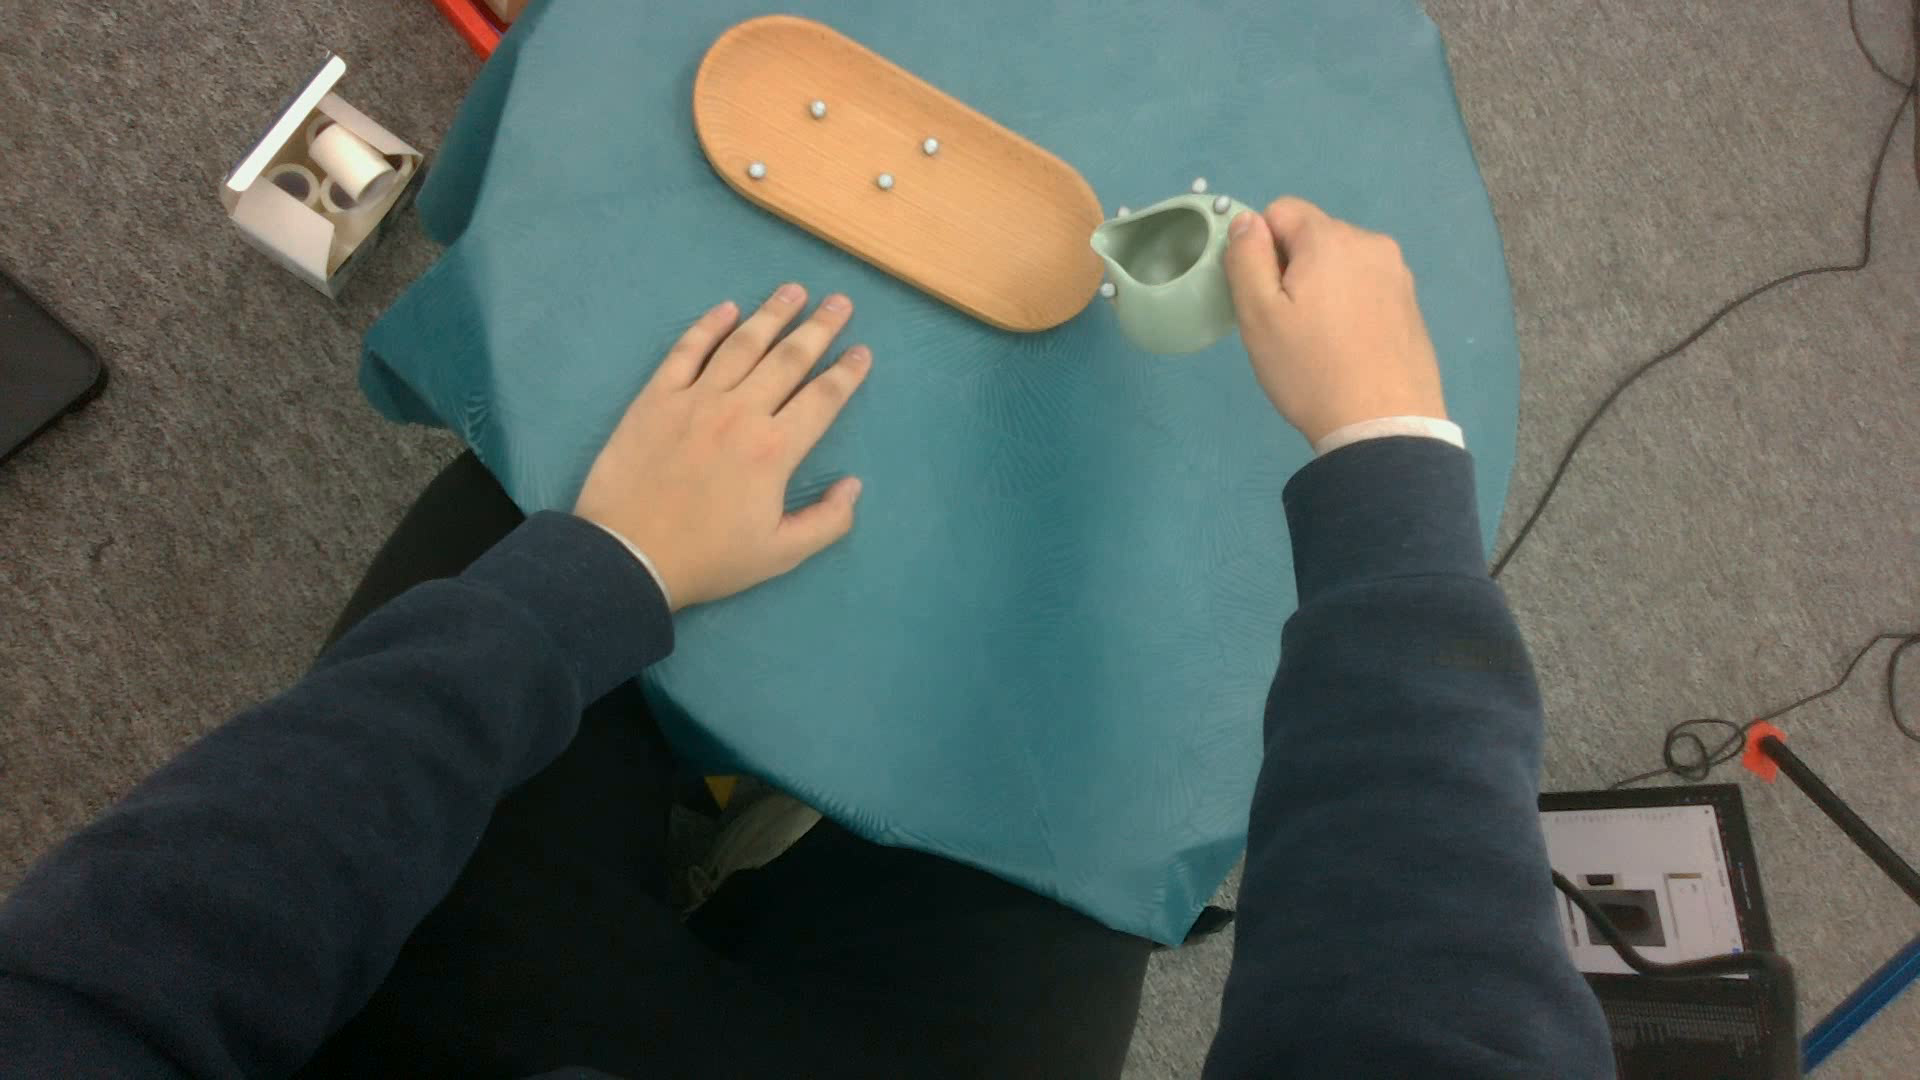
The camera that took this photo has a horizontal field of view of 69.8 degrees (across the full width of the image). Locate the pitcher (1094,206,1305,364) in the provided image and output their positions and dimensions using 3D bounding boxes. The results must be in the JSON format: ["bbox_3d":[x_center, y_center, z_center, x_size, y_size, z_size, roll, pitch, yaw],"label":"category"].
[{"bbox_3d":[0.123,-0.129,0.682,0.060,0.108,0.086,34,71,-48],"label":"pitcher"}]

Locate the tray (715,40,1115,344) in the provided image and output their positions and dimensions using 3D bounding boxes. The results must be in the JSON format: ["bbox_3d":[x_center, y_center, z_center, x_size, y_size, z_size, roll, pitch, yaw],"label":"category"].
[{"bbox_3d":[-0.020,-0.182,0.732,0.231,0.020,0.102,25,77,-16],"label":"tray"}]
